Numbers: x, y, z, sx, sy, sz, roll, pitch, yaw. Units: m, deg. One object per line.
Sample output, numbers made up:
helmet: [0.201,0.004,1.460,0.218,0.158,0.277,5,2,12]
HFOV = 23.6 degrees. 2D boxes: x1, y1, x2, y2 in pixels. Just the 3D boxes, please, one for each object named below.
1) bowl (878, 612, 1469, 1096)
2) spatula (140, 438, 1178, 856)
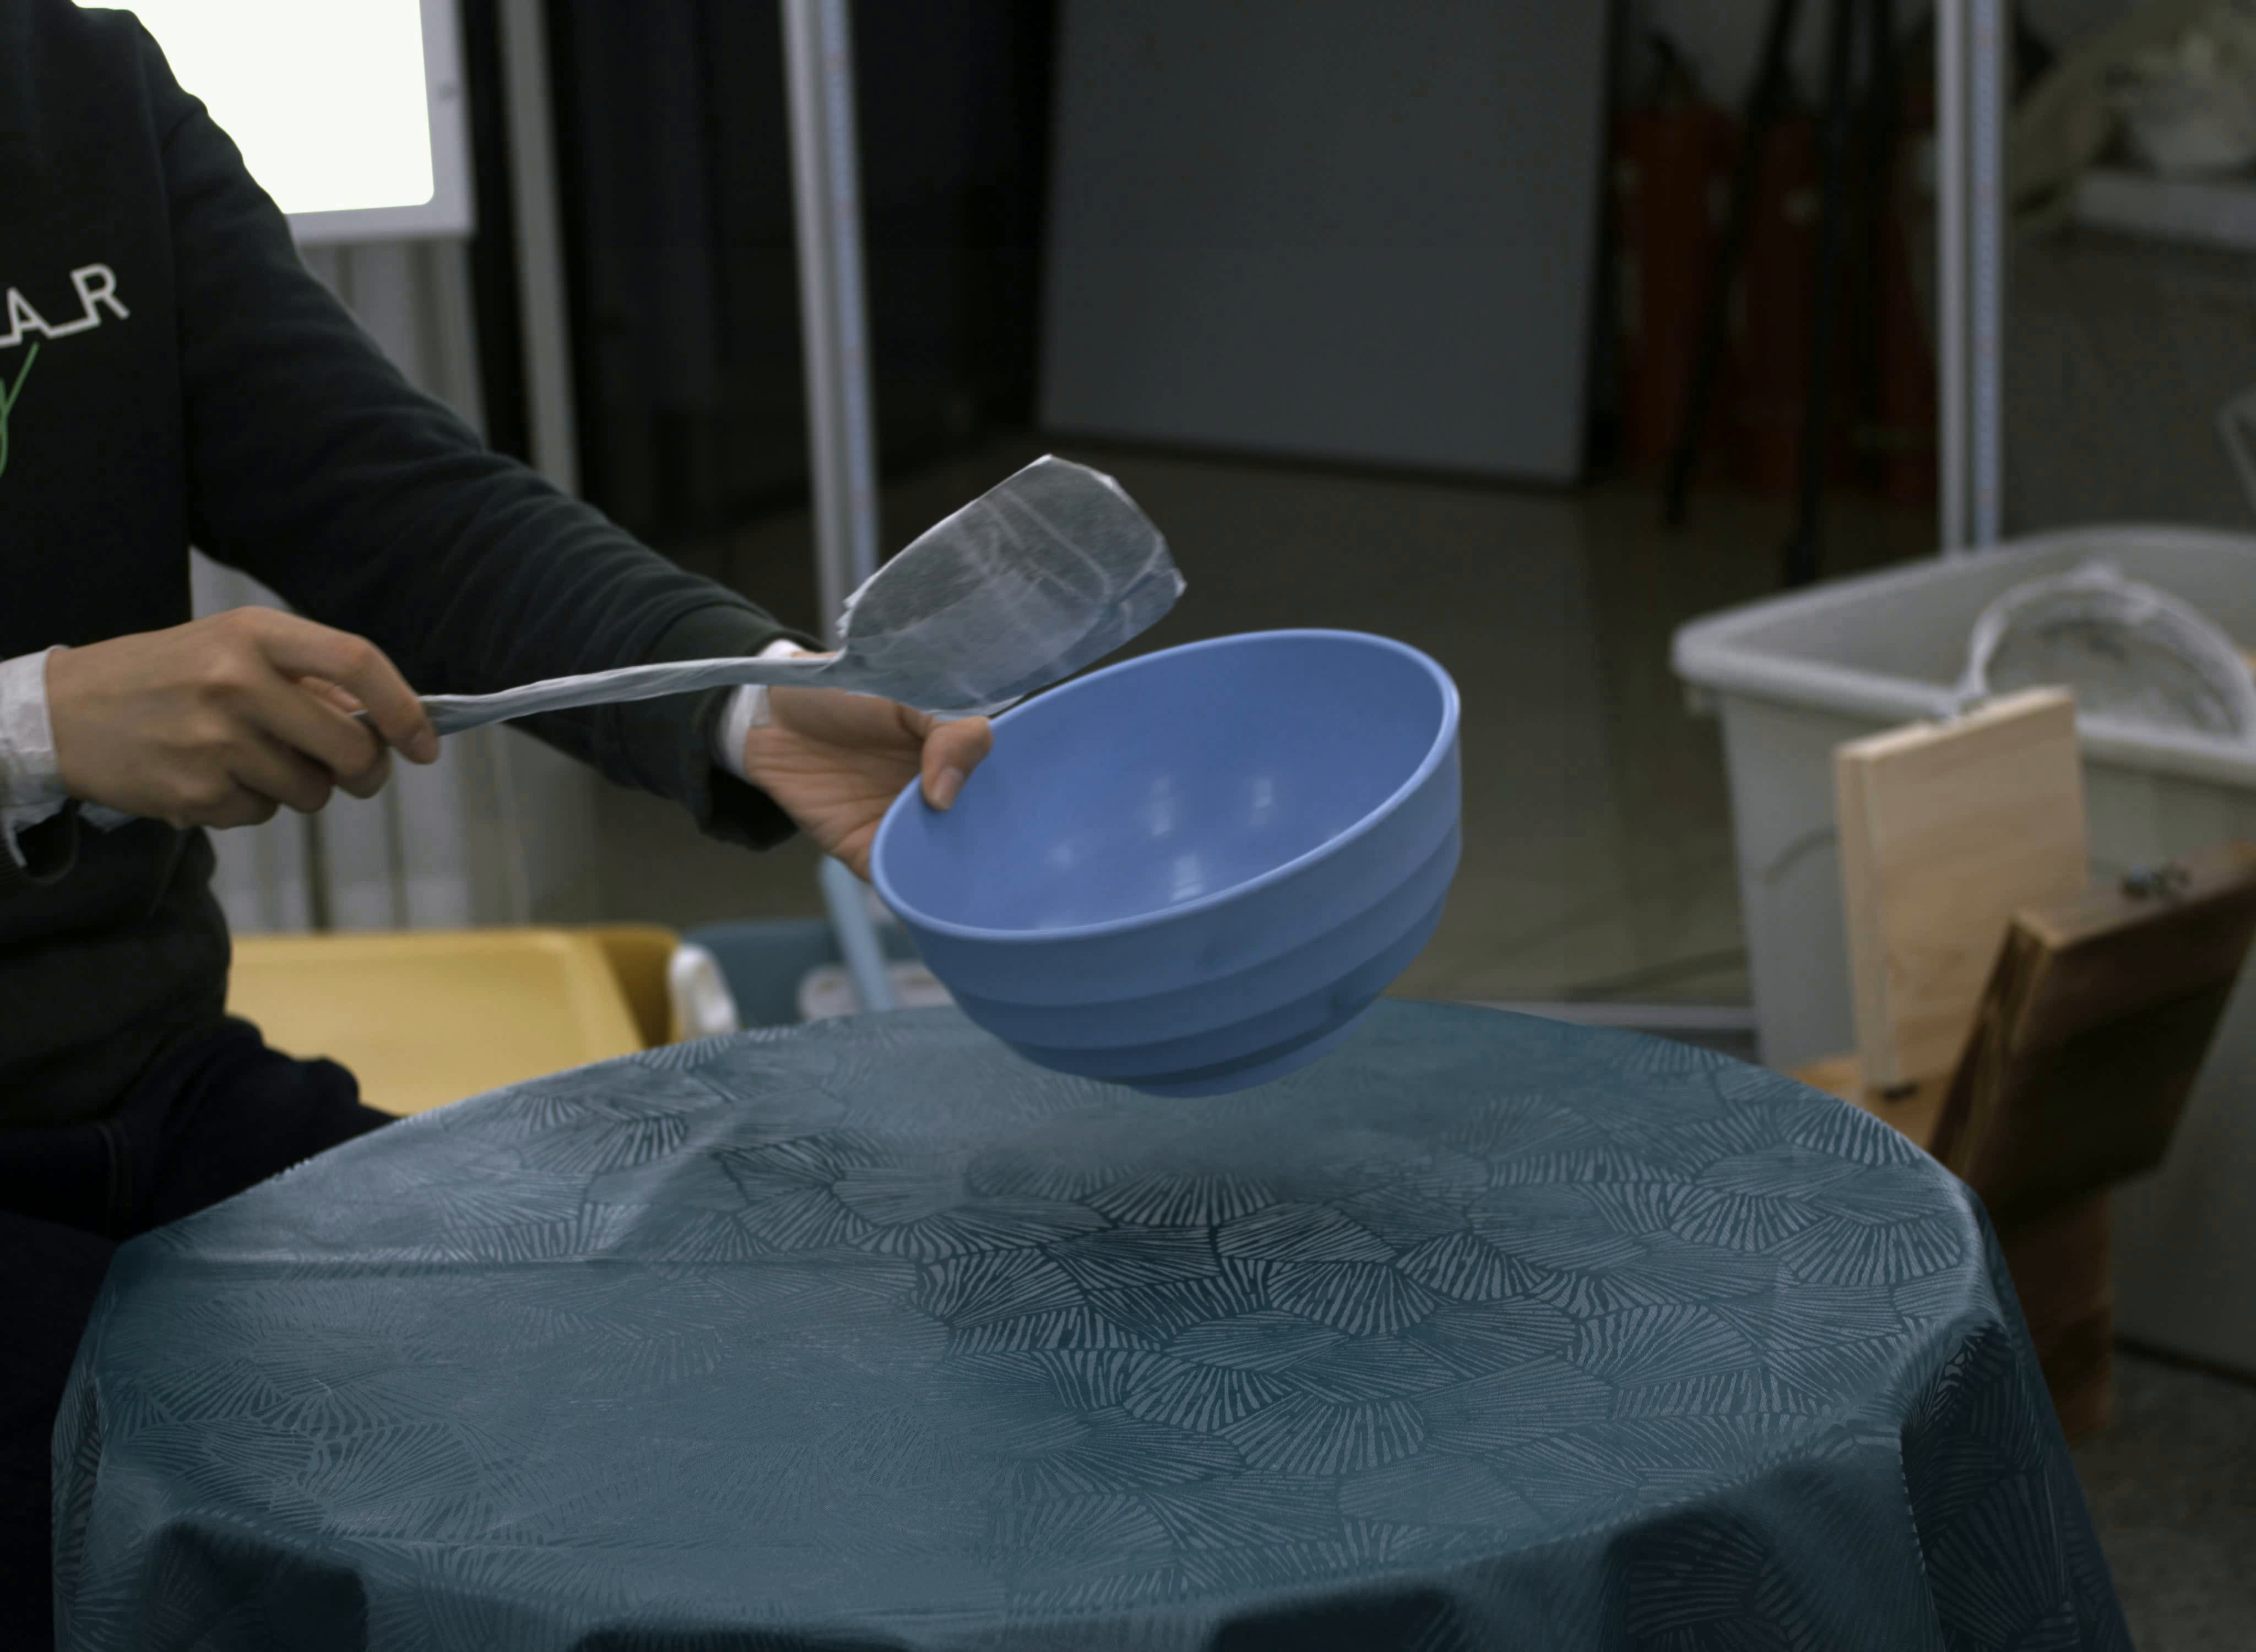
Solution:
bowl: [0.025,0.022,1.725,0.195,0.096,0.197,-16,26,7]
spatula: [-0.158,-0.047,1.681,0.365,0.045,0.097,-11,-30,23]
